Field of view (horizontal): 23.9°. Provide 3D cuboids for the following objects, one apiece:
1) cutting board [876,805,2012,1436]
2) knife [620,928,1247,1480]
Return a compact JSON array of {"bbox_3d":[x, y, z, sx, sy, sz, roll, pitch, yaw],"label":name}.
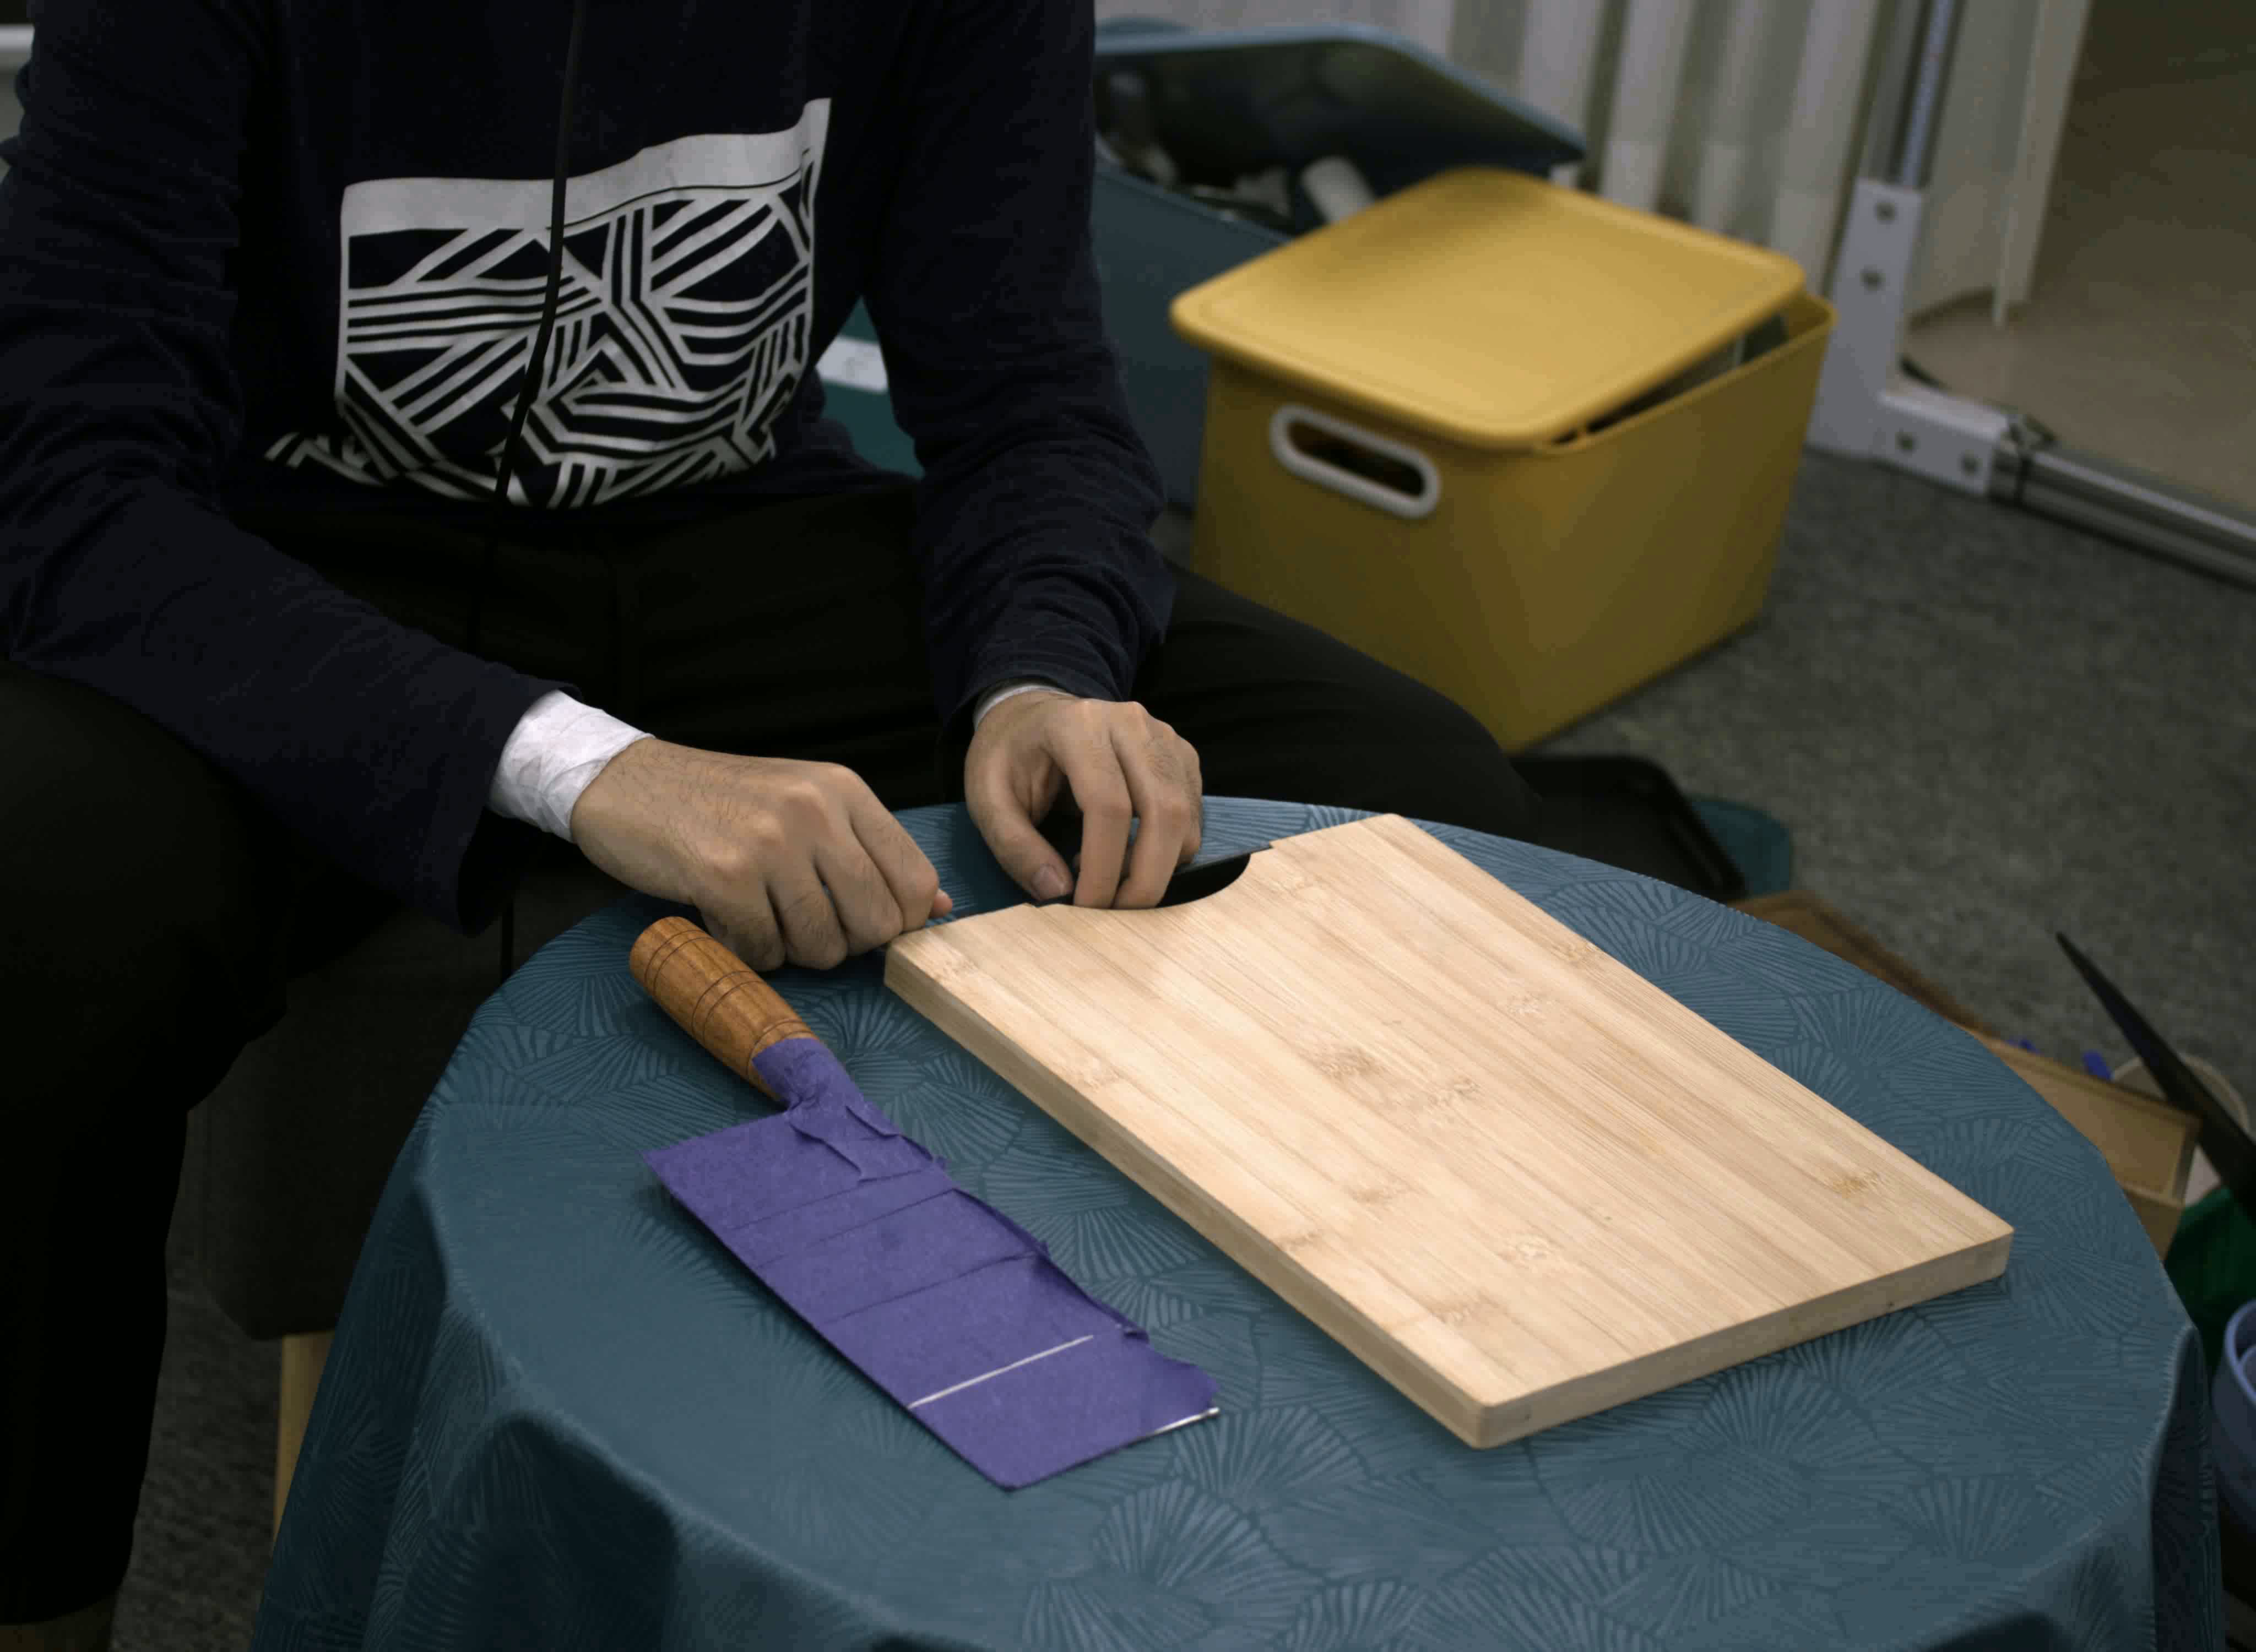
[{"bbox_3d":[0.104,0.095,1.868,0.249,0.023,0.351,-14,33,-35],"label":"cutting board"},{"bbox_3d":[-0.095,0.121,1.761,0.103,0.032,0.318,-15,34,-36],"label":"knife"}]
